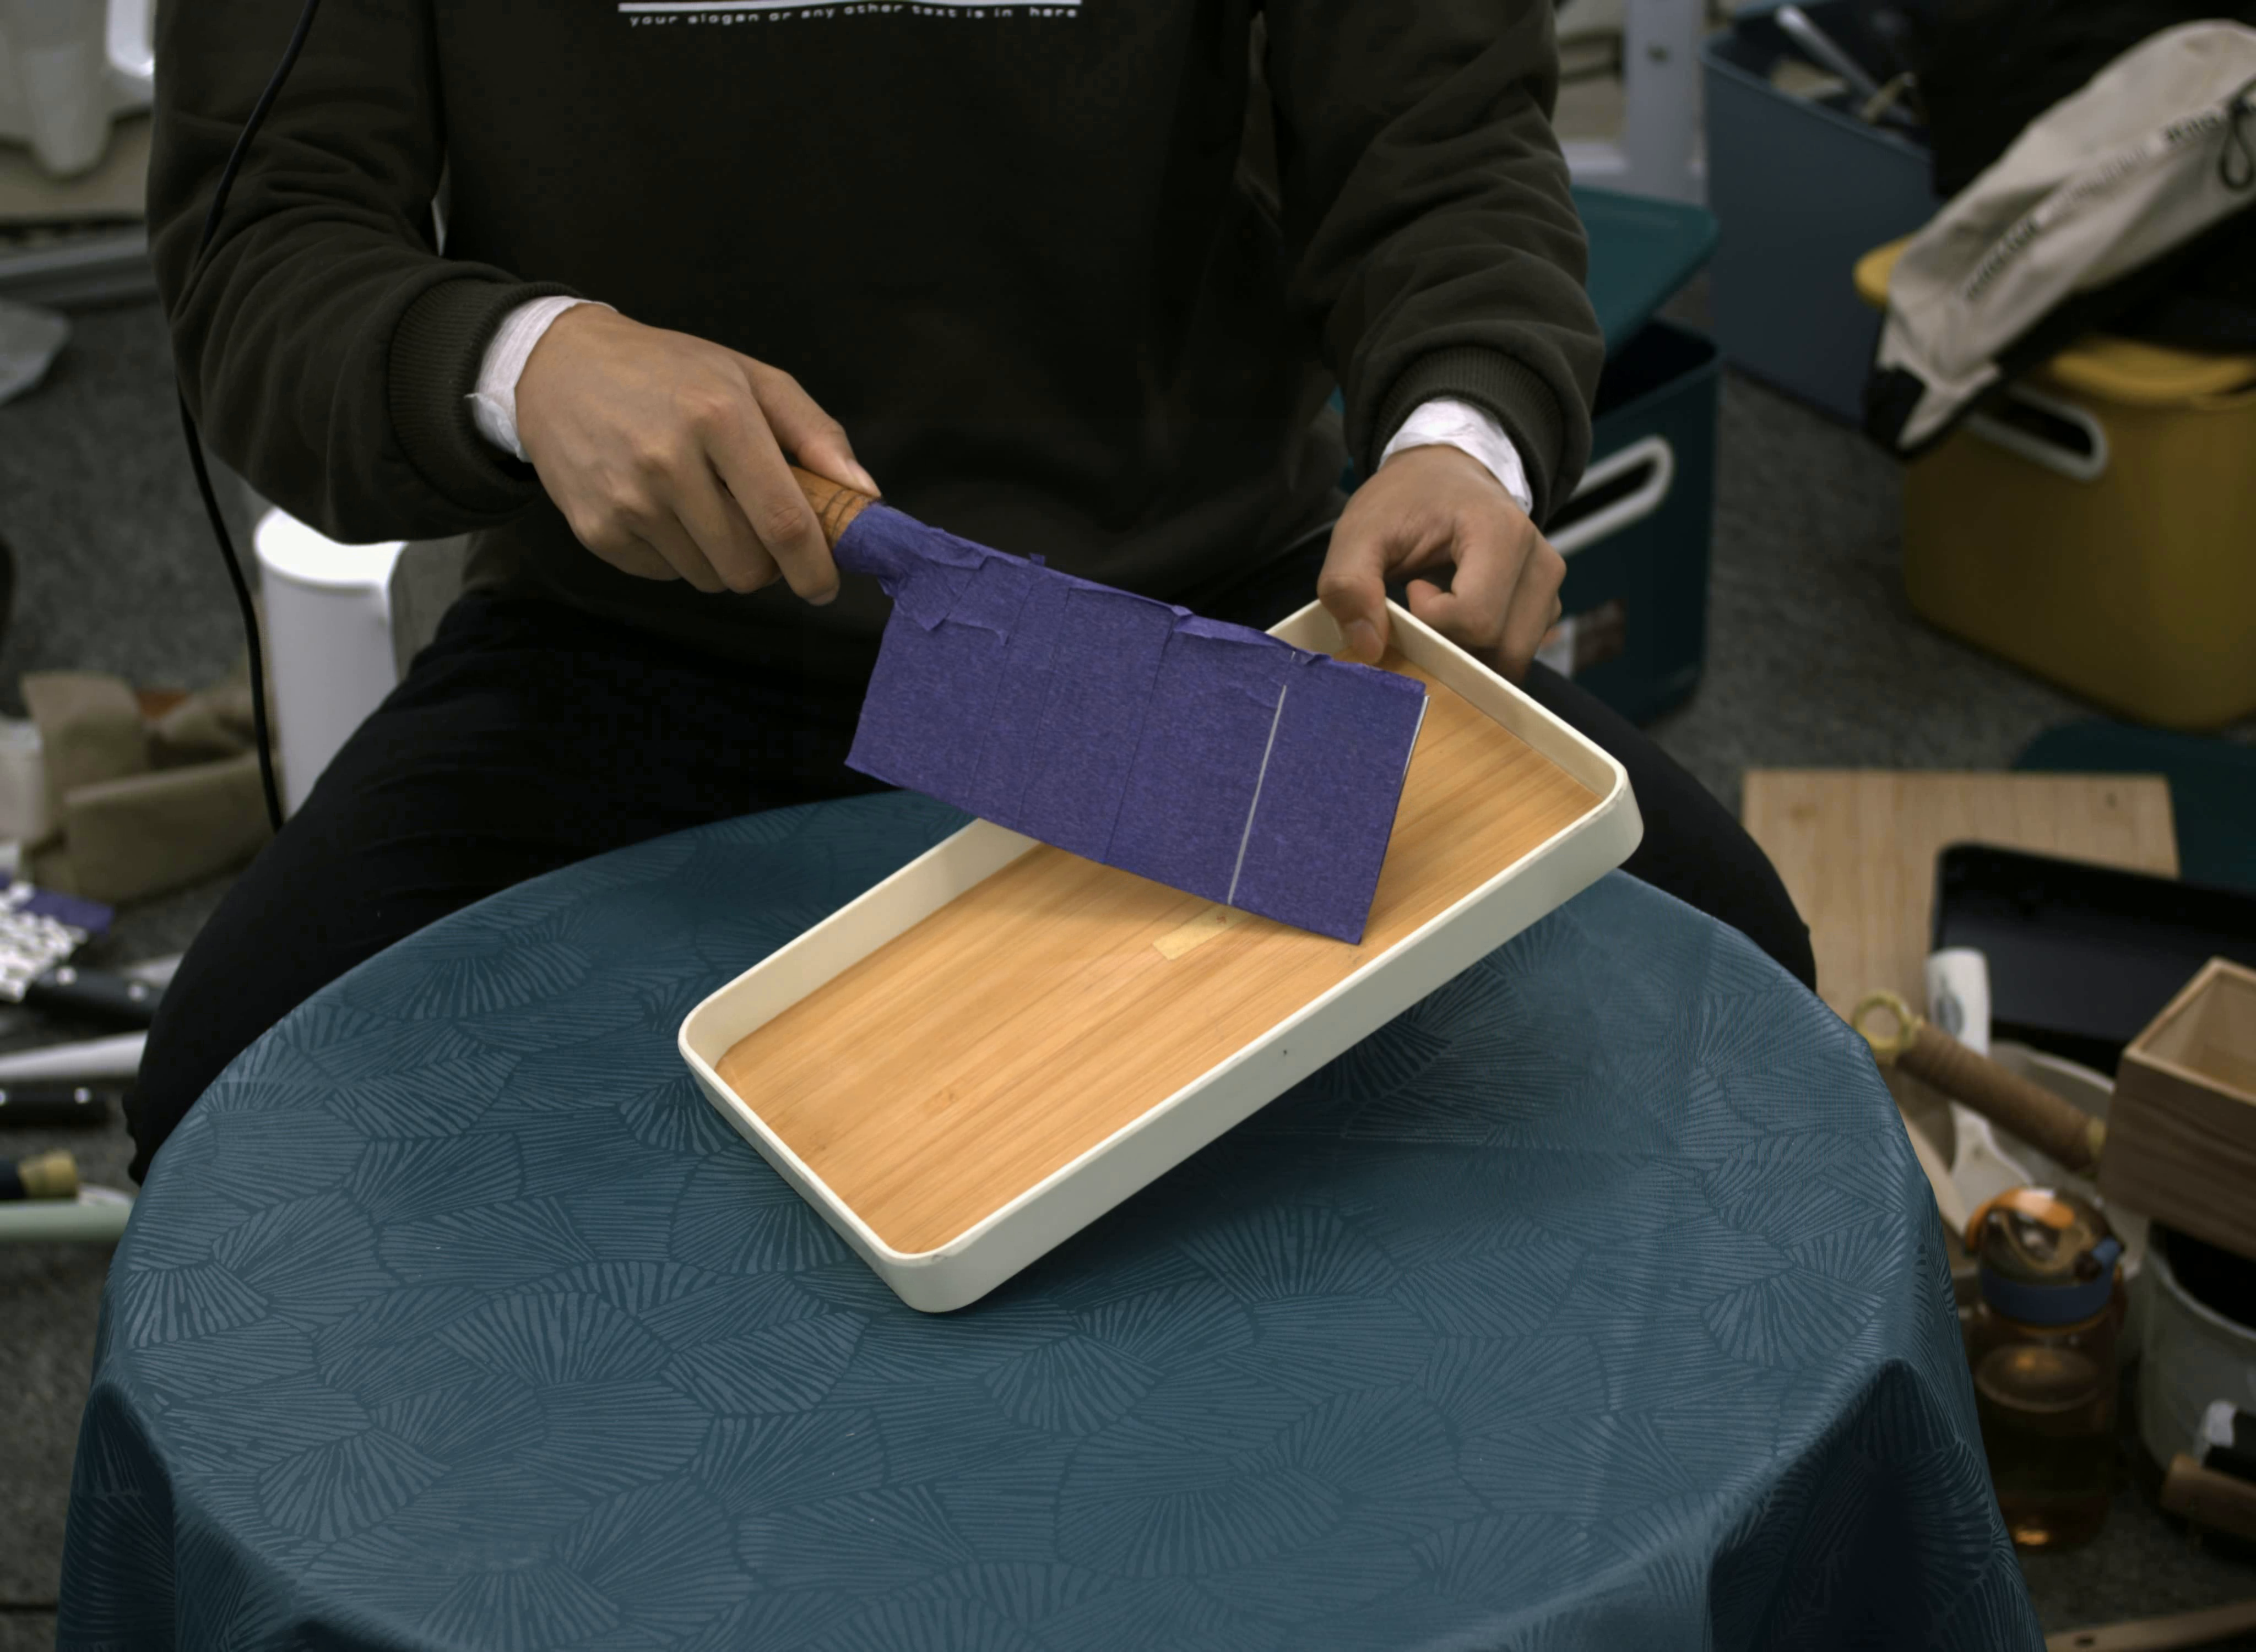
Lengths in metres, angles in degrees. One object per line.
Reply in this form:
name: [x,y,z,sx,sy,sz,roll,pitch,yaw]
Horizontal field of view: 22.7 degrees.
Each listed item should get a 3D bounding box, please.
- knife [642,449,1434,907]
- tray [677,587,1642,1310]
knife: [-0.043,-0.050,1.932,0.314,0.104,0.032,18,2,29]
tray: [0.009,0.036,1.898,0.302,0.027,0.192,-33,36,-15]
